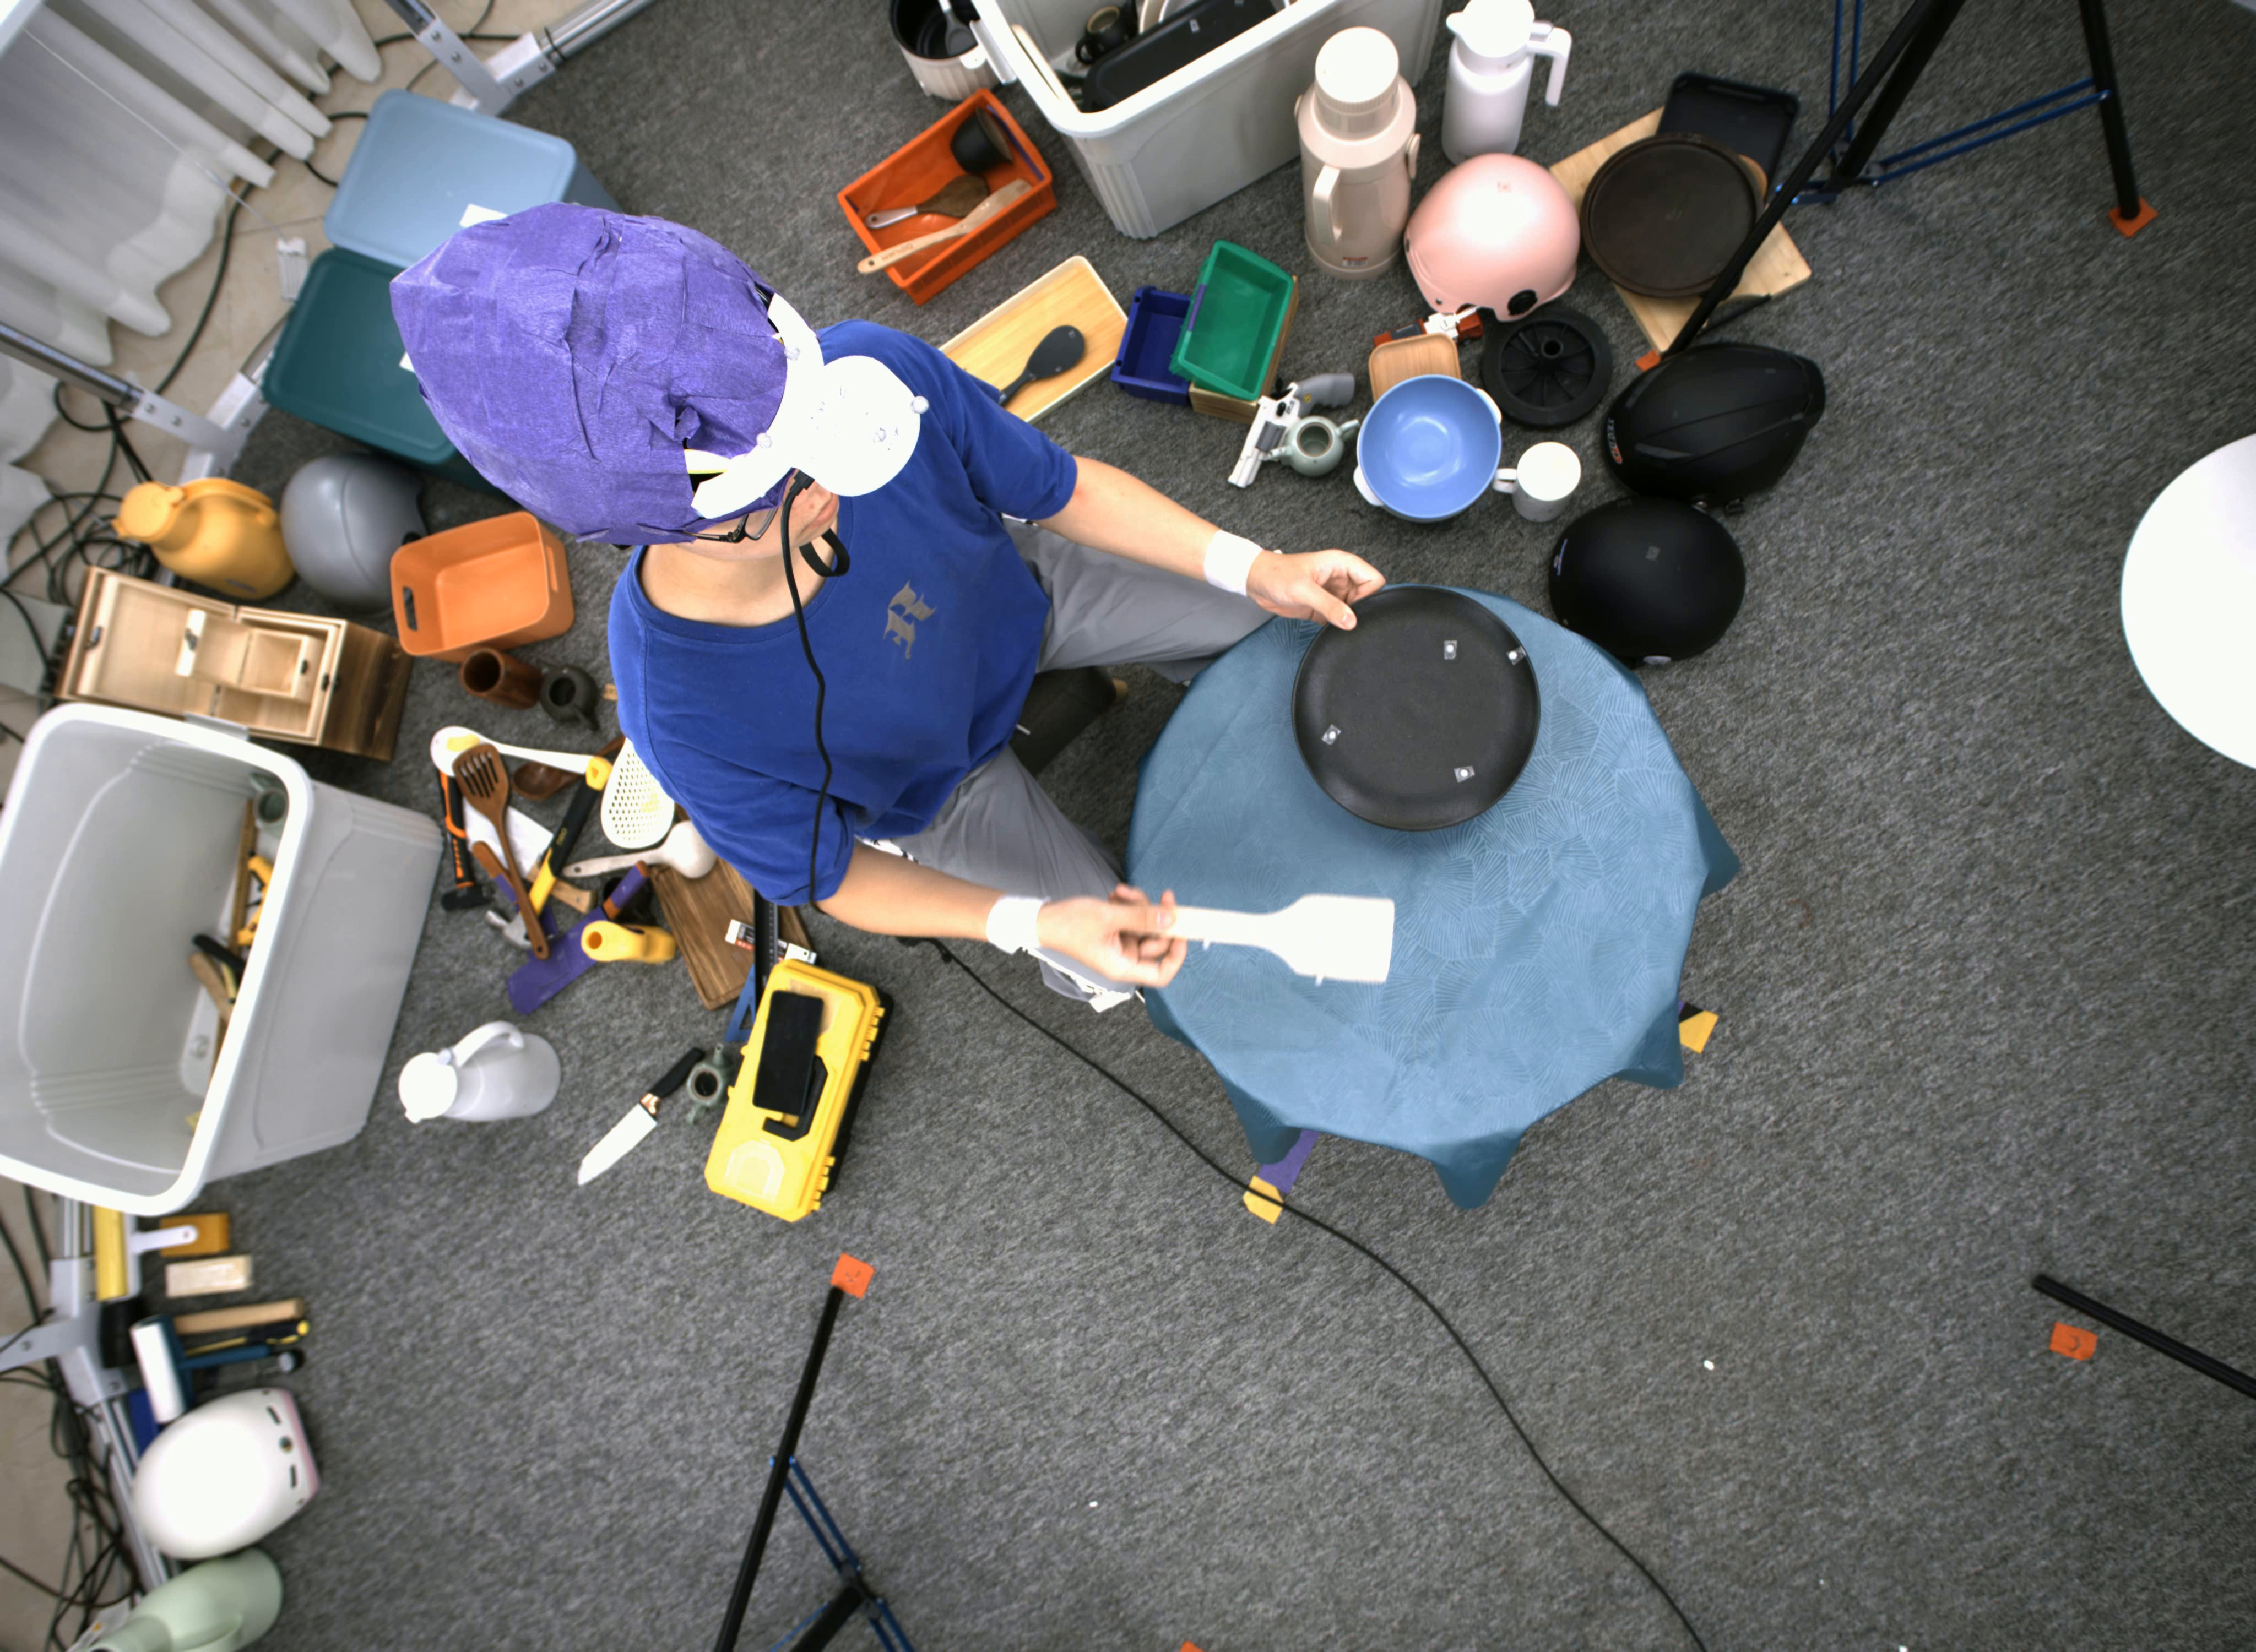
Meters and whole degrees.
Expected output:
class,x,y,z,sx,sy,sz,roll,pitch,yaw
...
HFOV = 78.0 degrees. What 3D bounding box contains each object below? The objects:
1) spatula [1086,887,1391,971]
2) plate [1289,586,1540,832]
class,x,y,z,sx,sy,sz,roll,pitch,yaw
spatula,0.097,0.087,1.282,0.294,0.010,0.072,3,87,22
plate,0.281,-0.116,1.355,0.245,0.023,0.247,5,106,17
